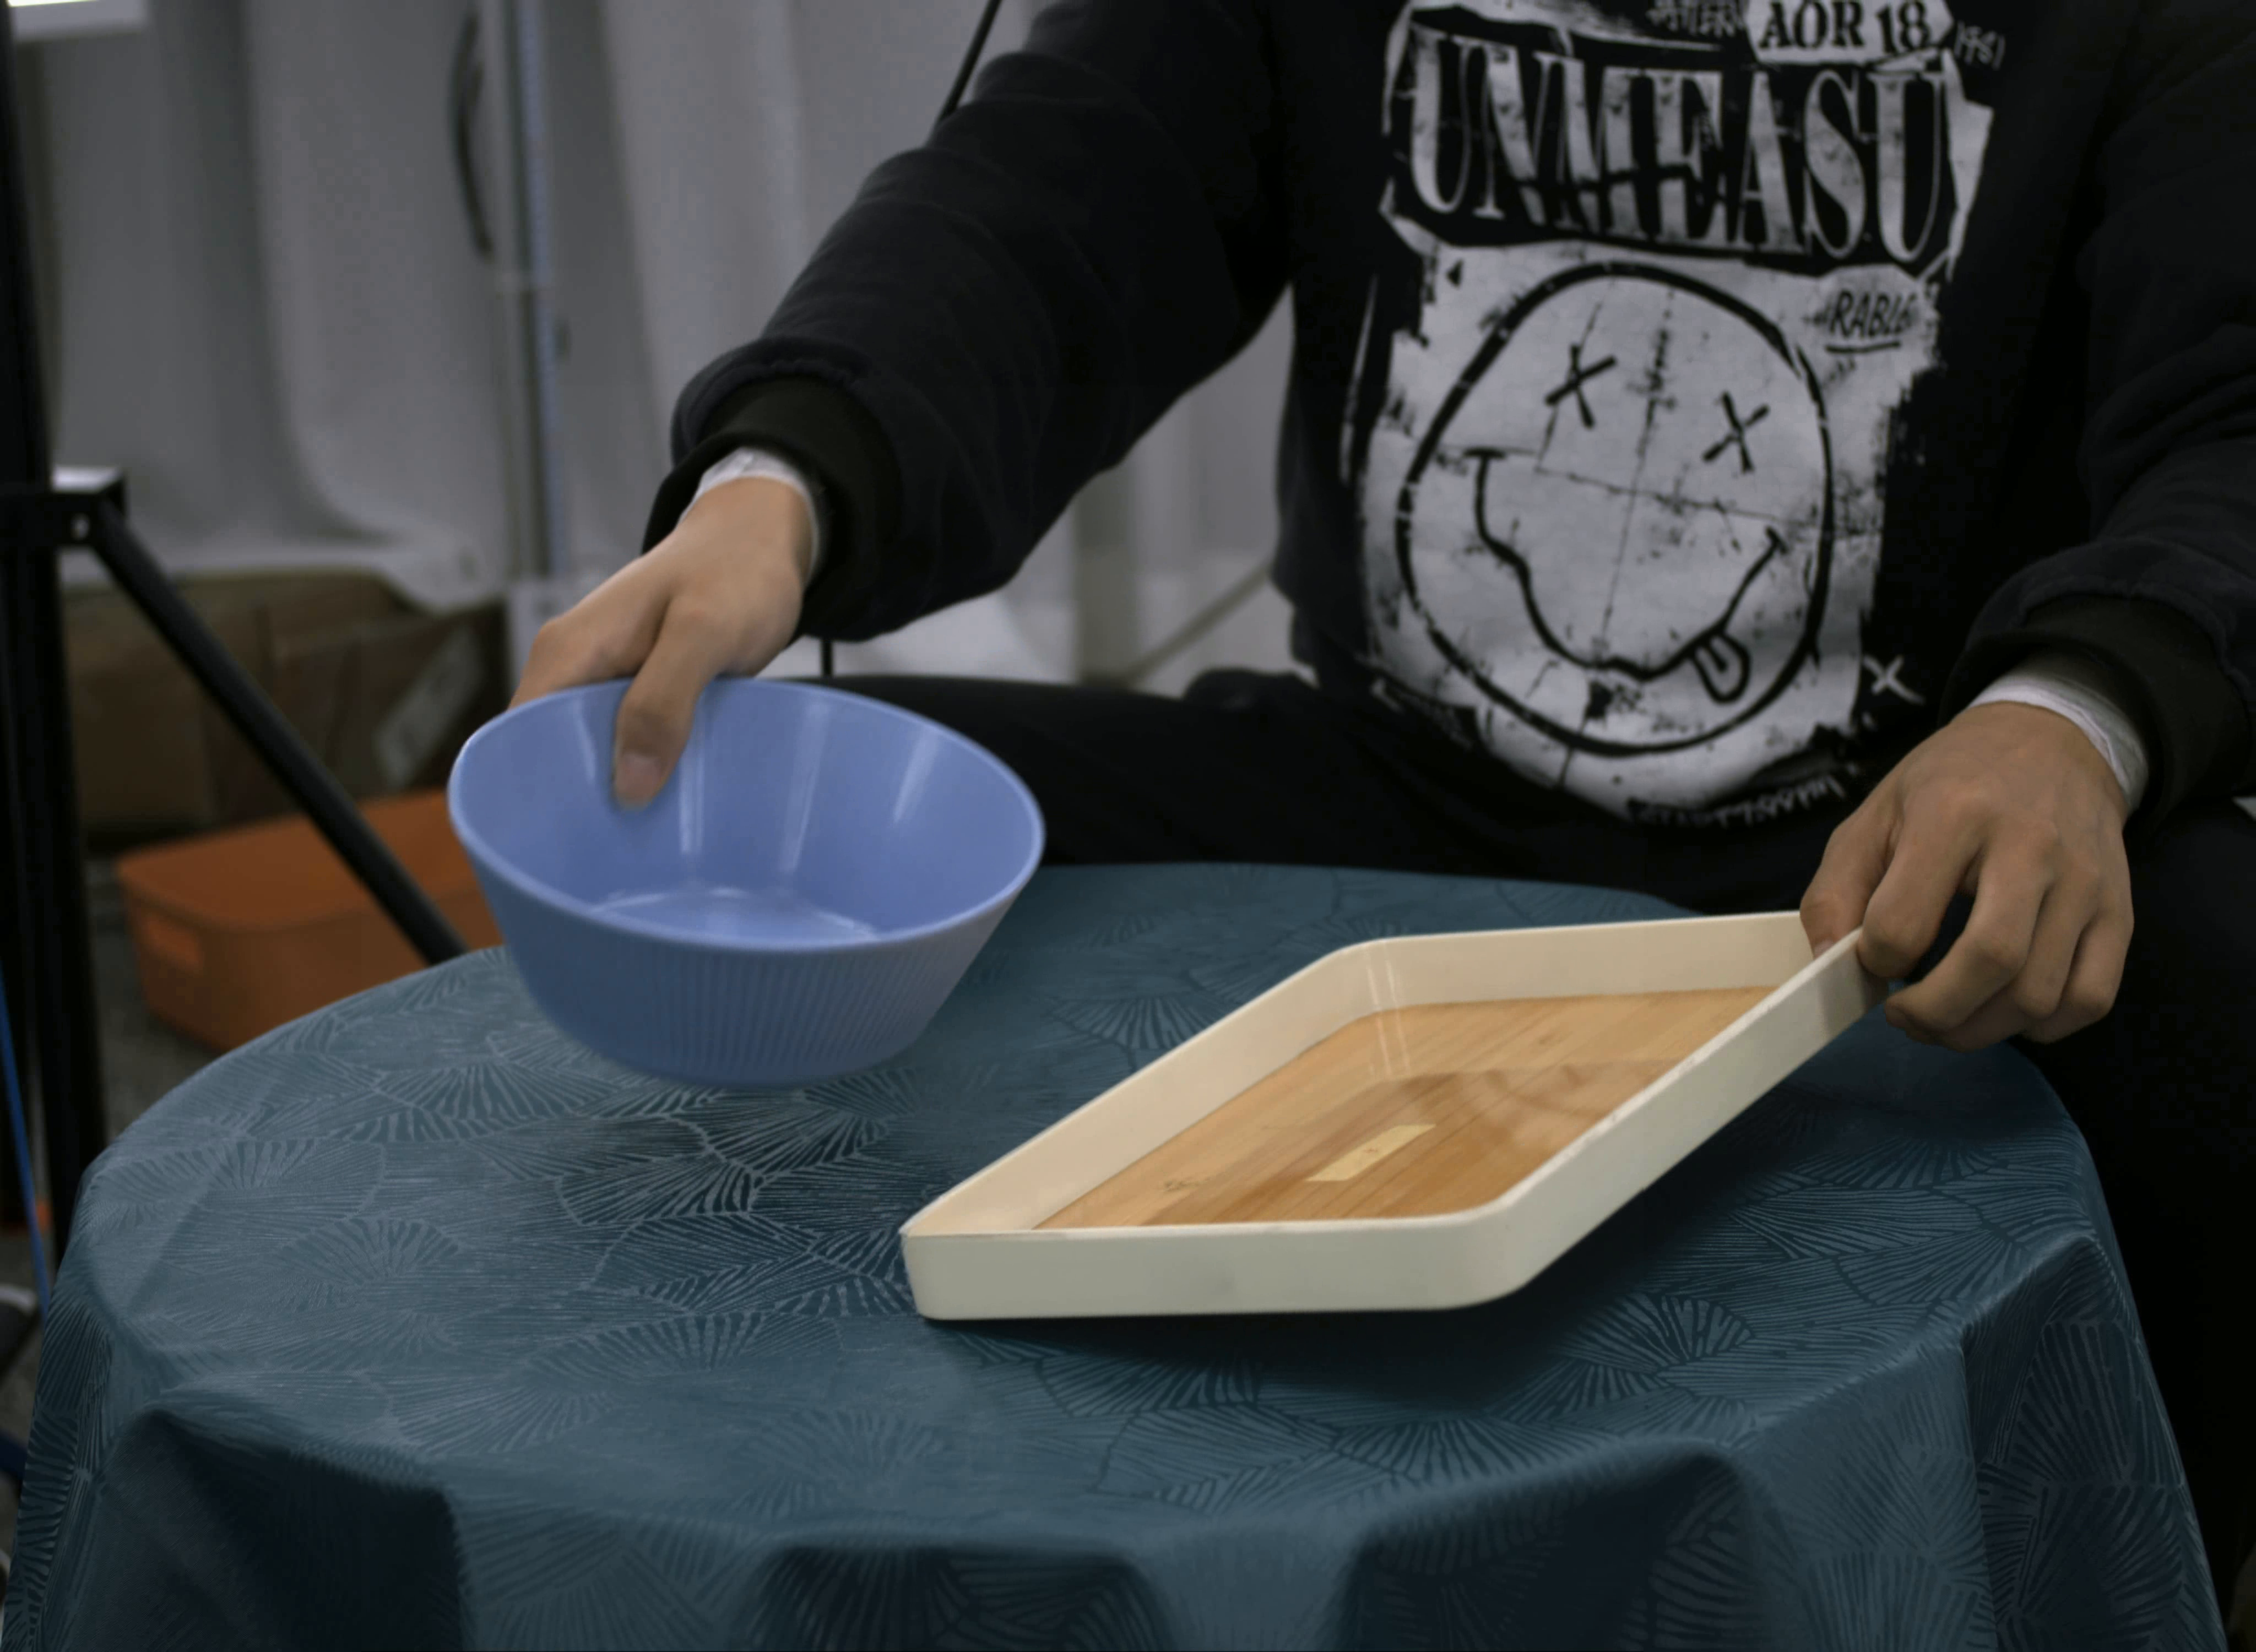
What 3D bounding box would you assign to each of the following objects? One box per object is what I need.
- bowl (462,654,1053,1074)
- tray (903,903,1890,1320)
[{"bbox_3d":[-0.112,0.017,1.577,0.174,0.070,0.177,6,27,-4],"label":"bowl"},{"bbox_3d":[0.085,0.081,1.533,0.195,0.027,0.295,-5,13,31],"label":"tray"}]
